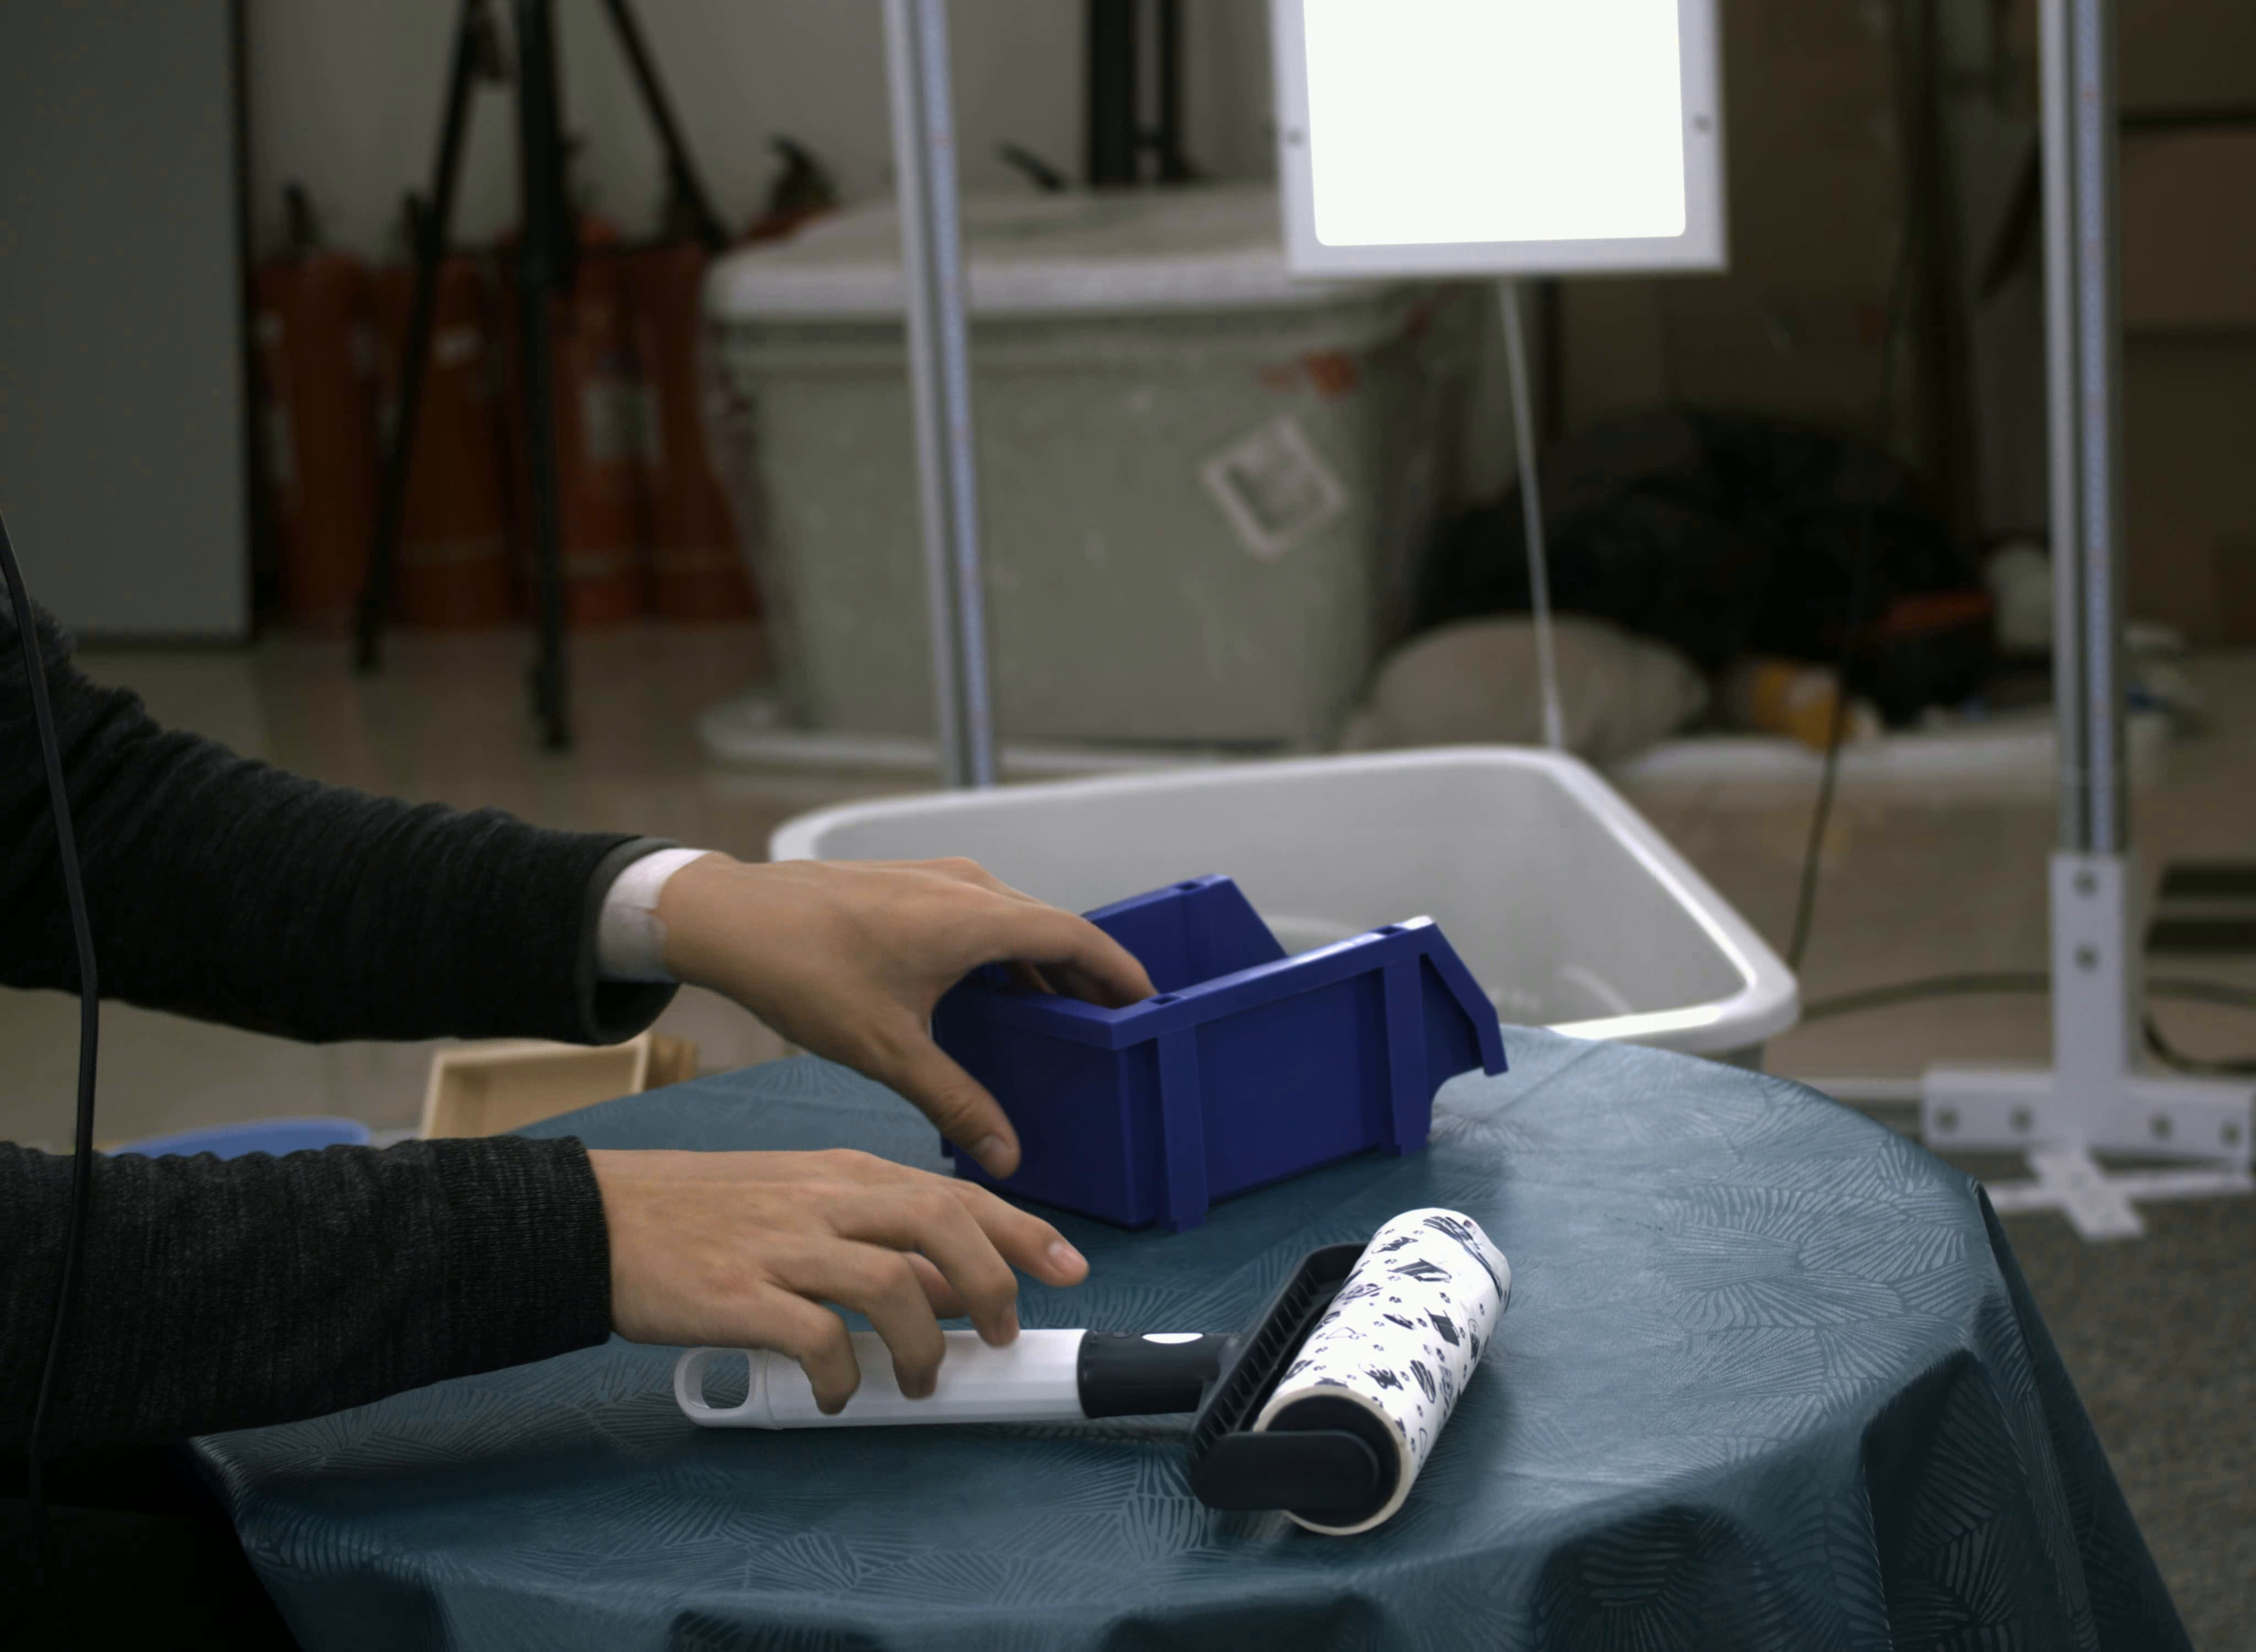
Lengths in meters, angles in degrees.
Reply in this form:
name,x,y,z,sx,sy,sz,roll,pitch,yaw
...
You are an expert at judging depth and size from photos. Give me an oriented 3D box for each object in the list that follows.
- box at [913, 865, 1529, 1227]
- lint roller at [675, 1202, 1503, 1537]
name,x,y,z,sx,sy,sz,roll,pitch,yaw
box,0.033,0.073,1.932,0.175,0.082,0.127,-18,18,-35
lint roller,-0.021,0.164,1.664,0.250,0.050,0.174,-3,15,17
